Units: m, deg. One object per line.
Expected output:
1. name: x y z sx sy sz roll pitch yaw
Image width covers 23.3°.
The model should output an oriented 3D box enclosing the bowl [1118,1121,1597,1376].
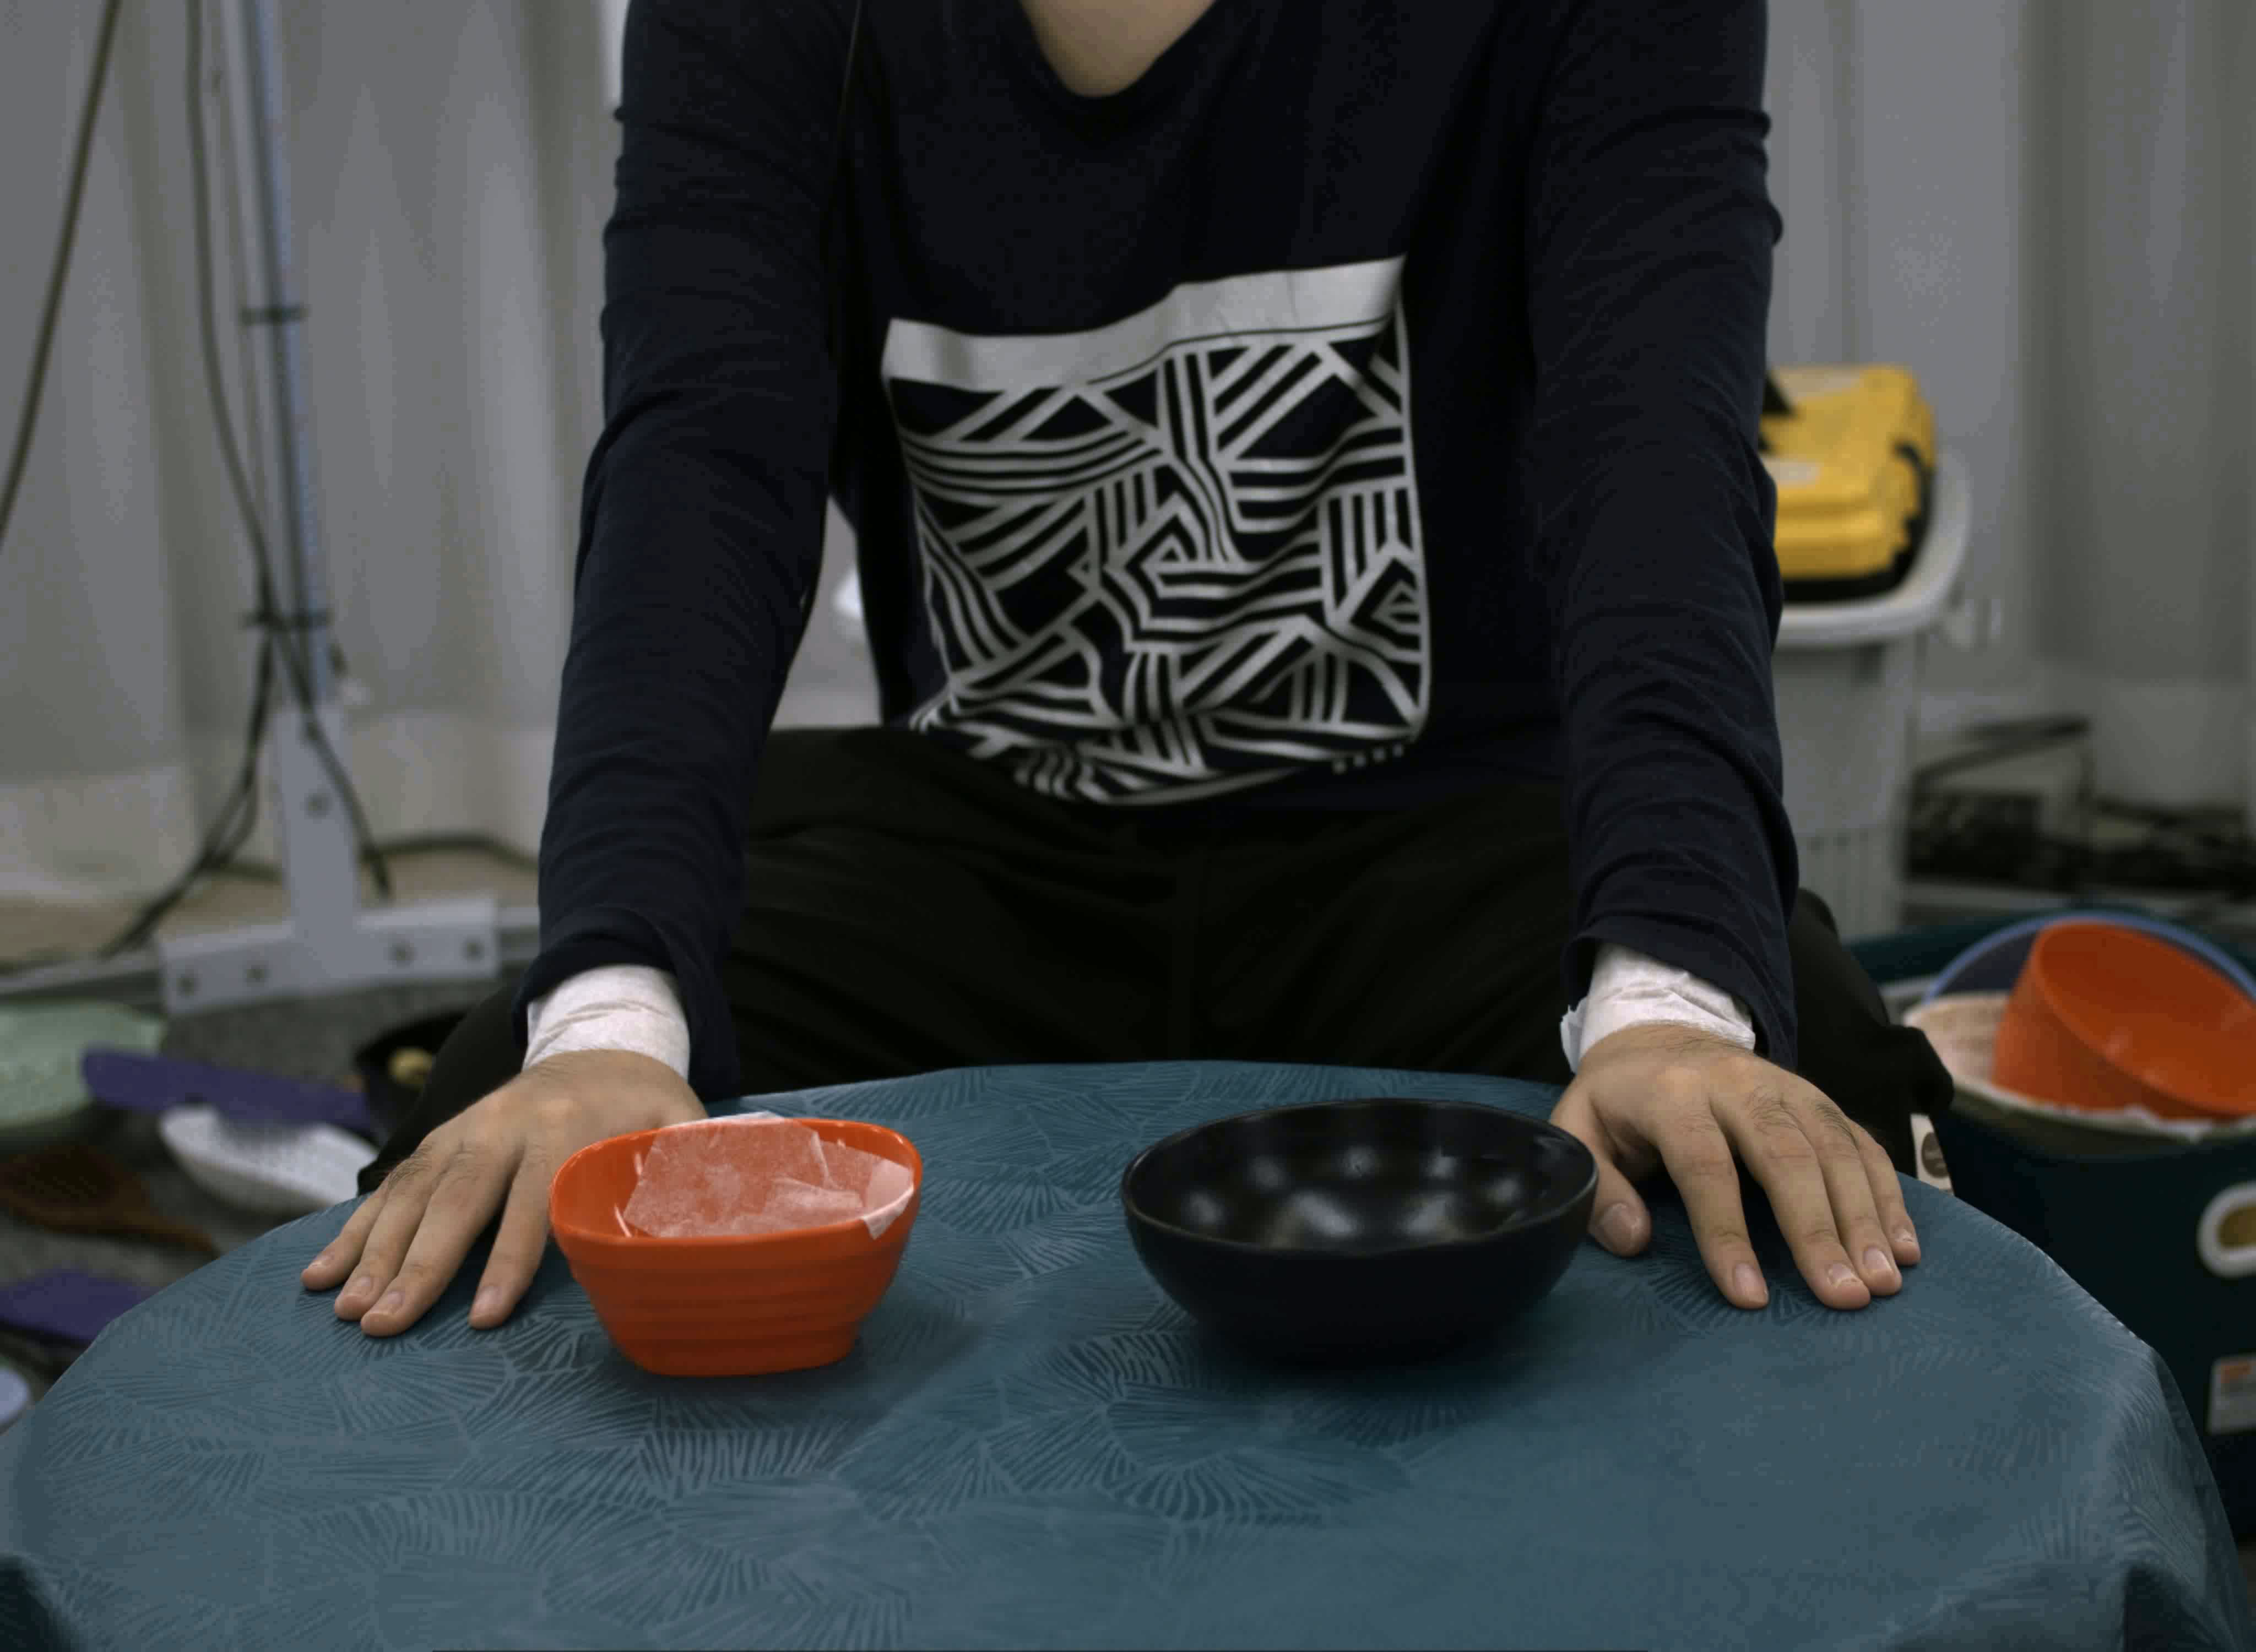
1. bowl: 0.067 0.126 1.580 0.139 0.049 0.140 -3 10 0

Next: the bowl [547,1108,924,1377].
1. bowl: -0.113 0.124 1.599 0.118 0.051 0.120 -4 16 1
